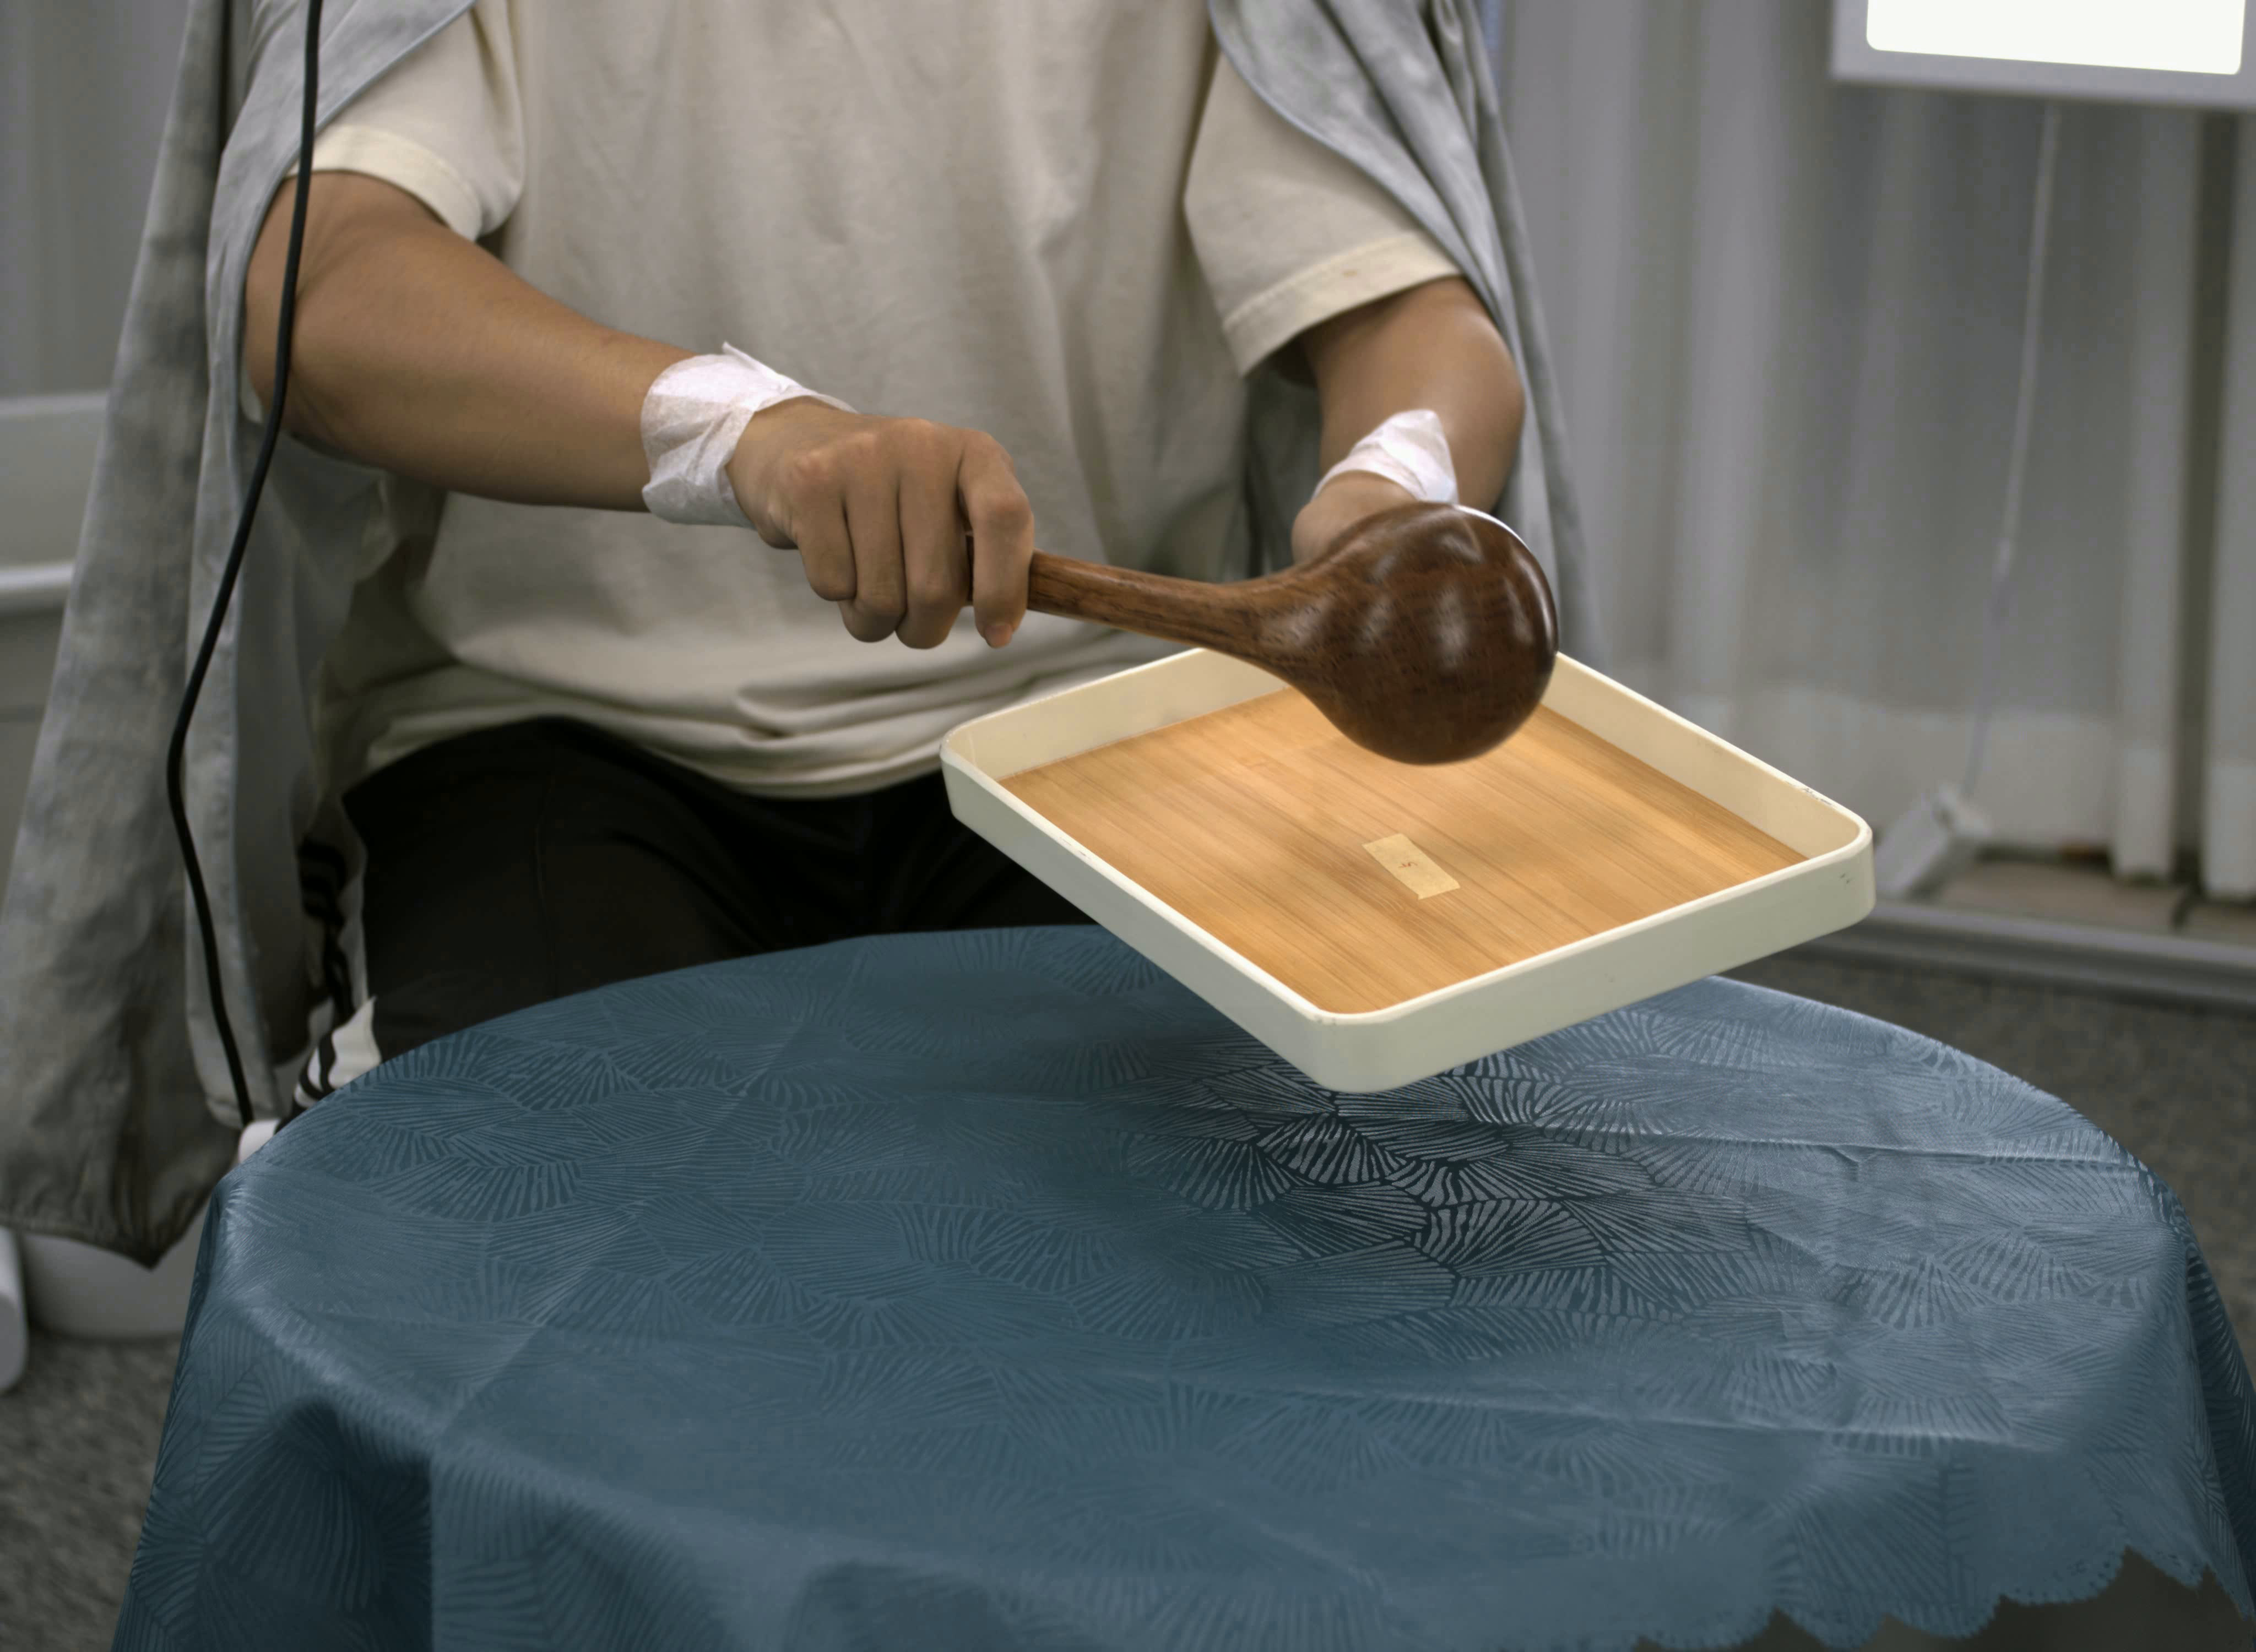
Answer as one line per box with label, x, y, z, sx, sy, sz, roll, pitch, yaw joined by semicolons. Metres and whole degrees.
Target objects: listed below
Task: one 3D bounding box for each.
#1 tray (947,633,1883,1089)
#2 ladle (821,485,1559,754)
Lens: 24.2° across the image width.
tray;0.083;-0.003;1.655;0.192;0.028;0.296;-19;25;-20
ladle;0.019;-0.075;1.673;0.077;0.082;0.270;2;6;-44
